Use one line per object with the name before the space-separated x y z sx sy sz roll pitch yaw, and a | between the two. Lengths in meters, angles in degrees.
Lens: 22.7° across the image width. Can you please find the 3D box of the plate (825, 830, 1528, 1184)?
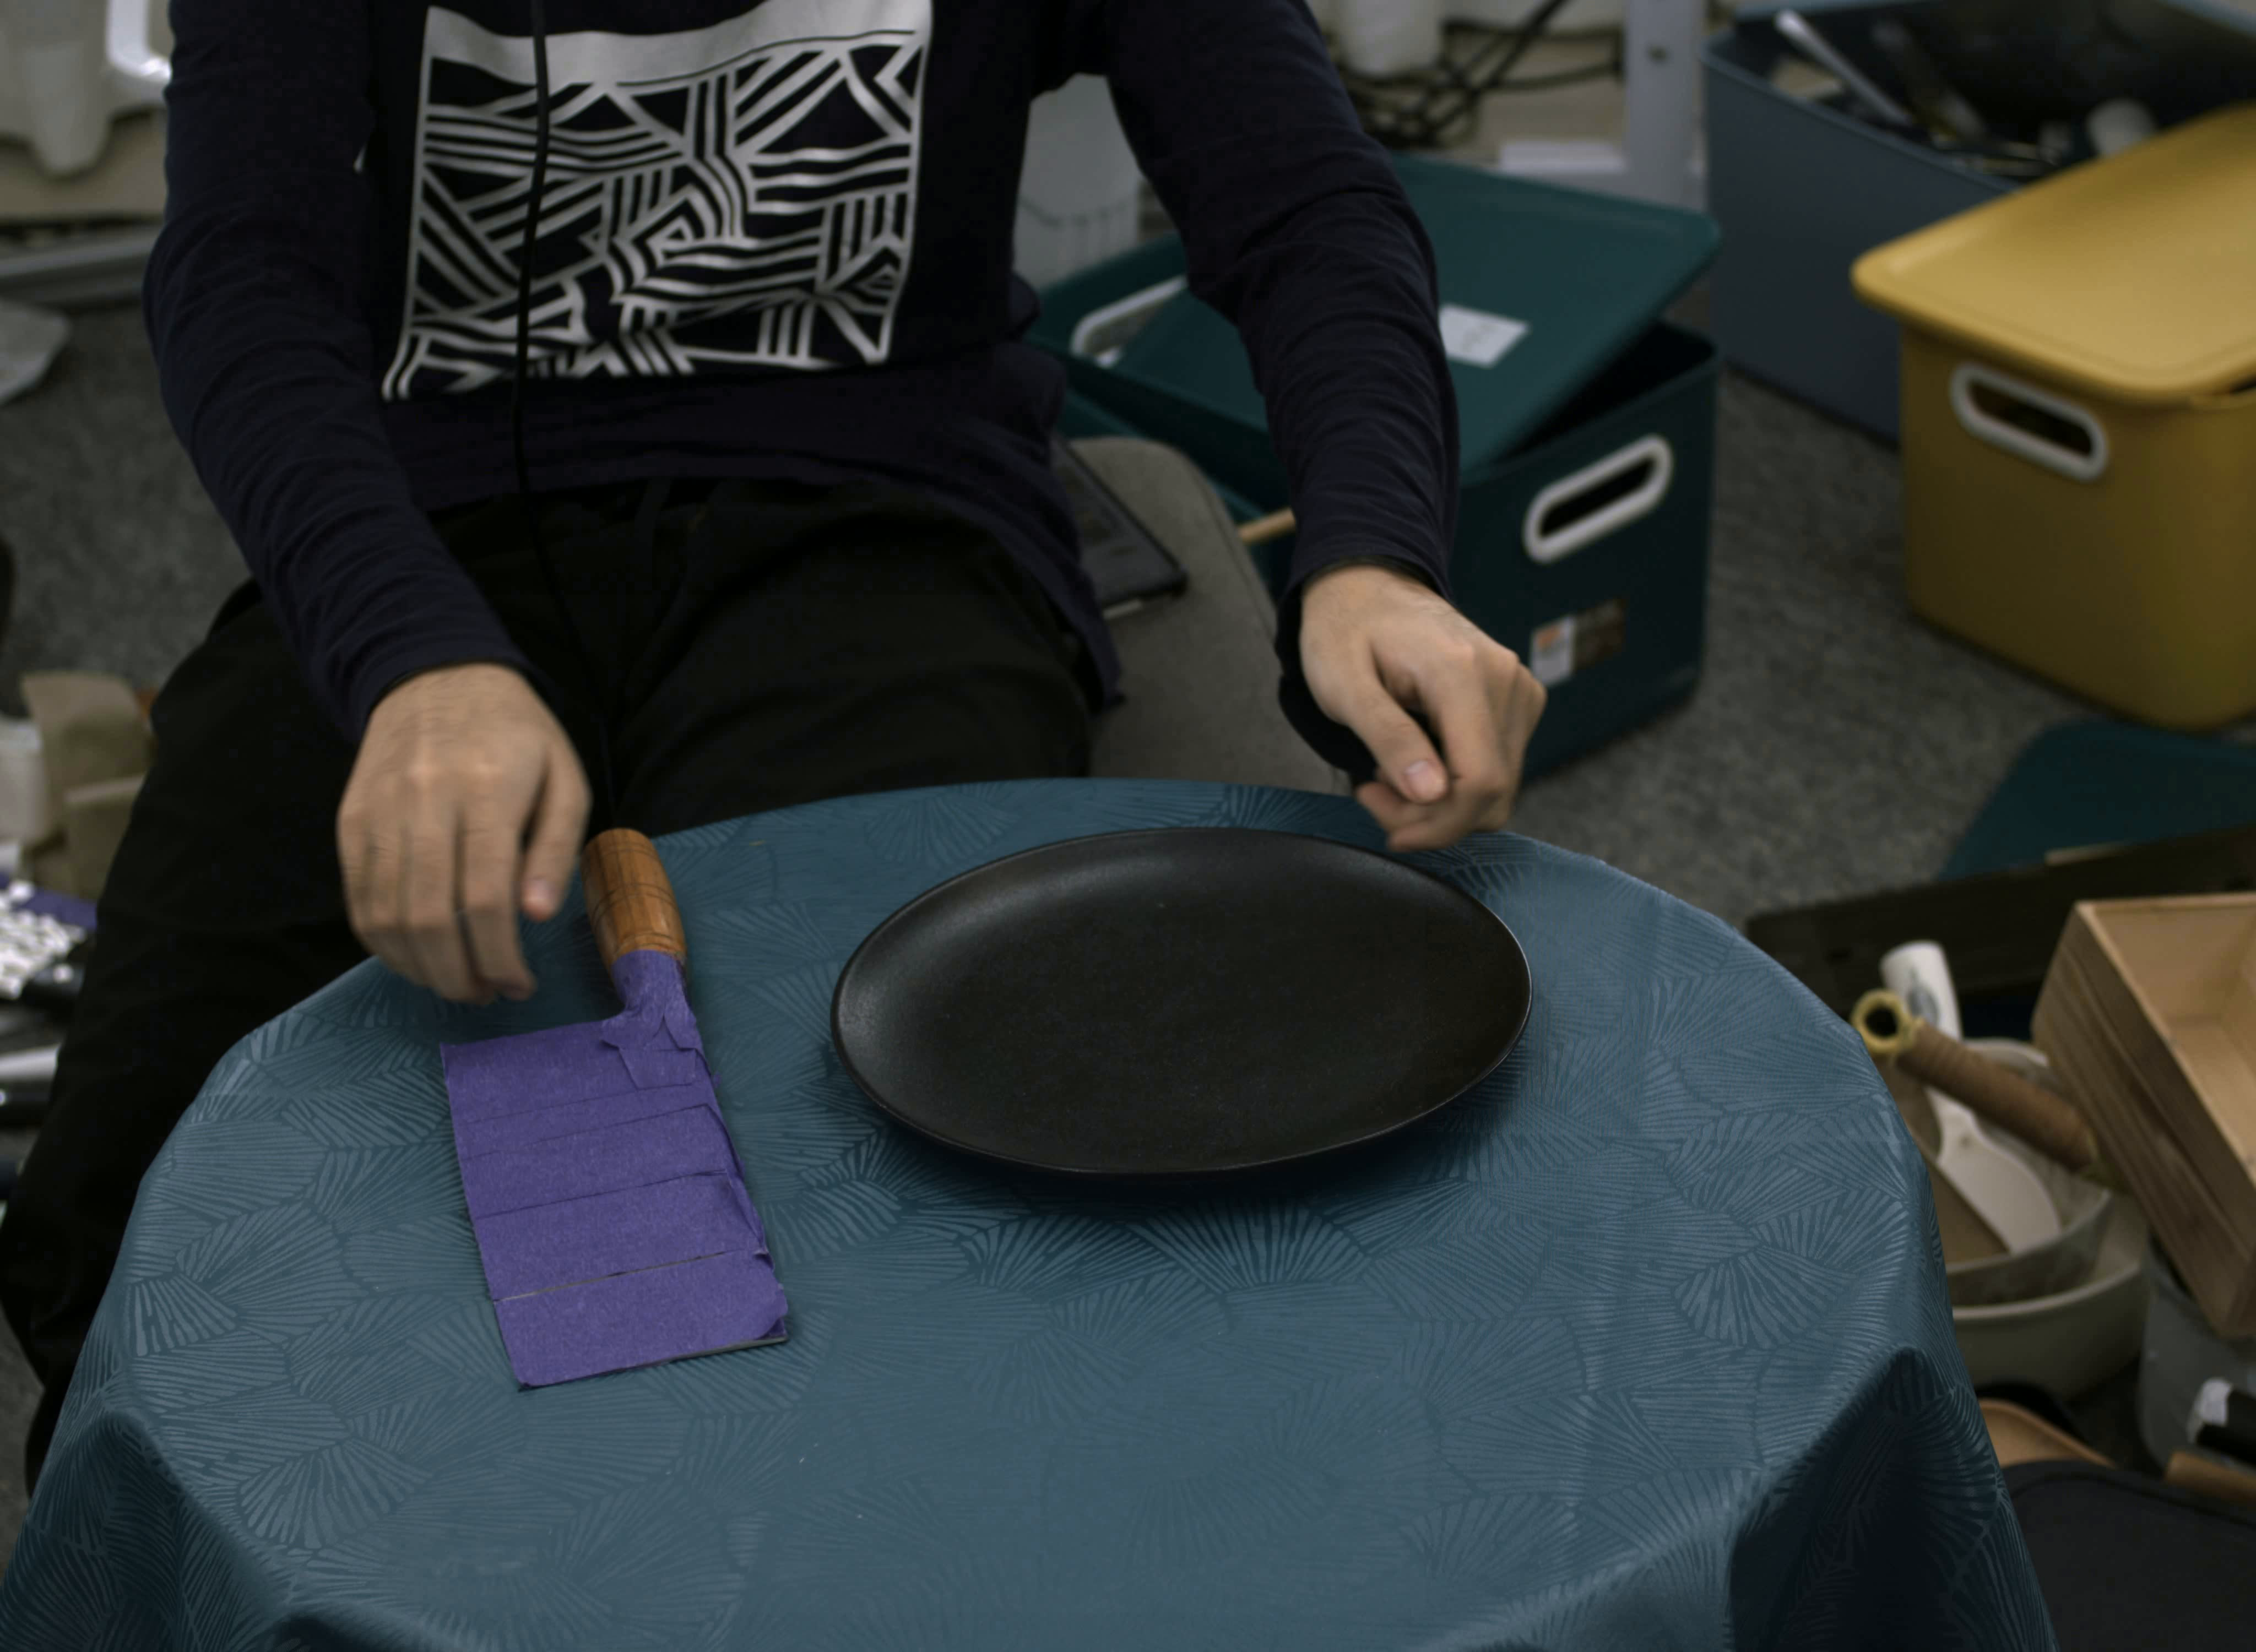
plate | 0.017 0.066 1.943 0.243 0.023 0.248 -2 27 1

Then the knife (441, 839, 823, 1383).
knife | -0.183 0.092 1.907 0.104 0.032 0.319 -8 28 -11
